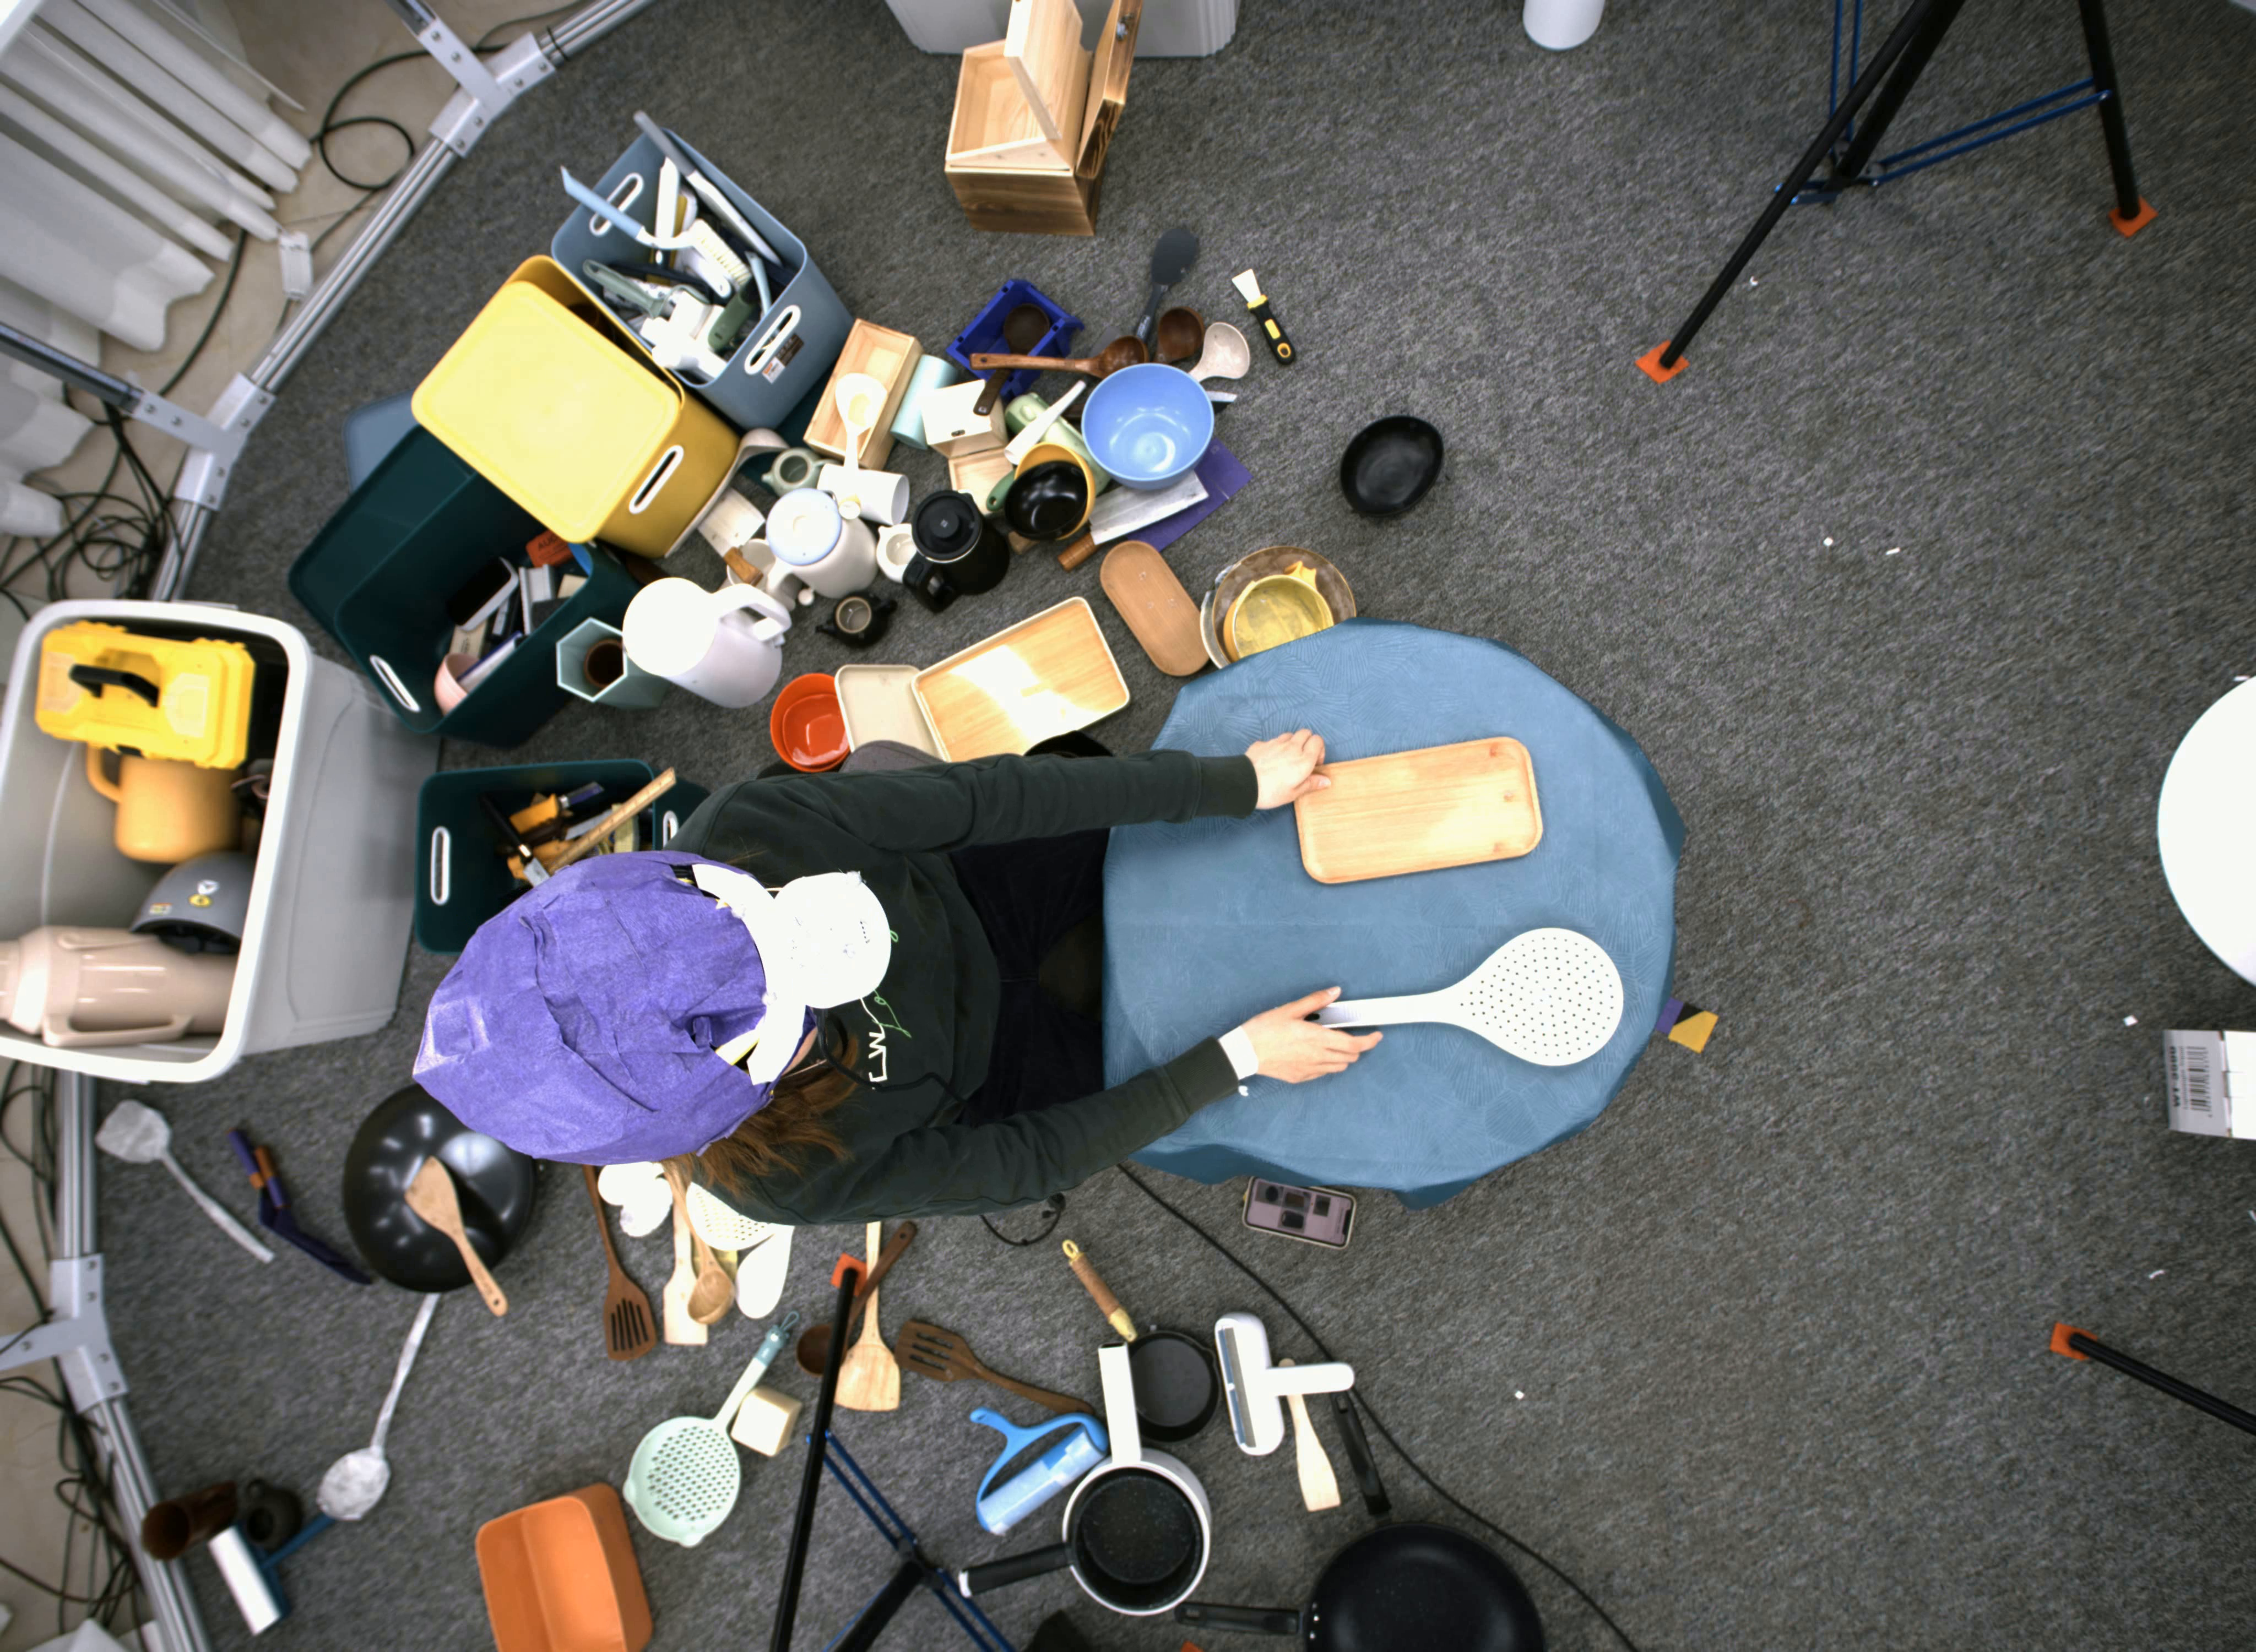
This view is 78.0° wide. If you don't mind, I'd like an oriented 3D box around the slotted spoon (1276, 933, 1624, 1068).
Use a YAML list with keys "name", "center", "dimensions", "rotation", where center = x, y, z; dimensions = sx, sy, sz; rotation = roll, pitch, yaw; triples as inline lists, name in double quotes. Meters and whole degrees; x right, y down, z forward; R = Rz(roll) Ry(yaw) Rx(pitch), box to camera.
- name: "slotted spoon"
  center: [0.327, 0.186, 1.423]
  dimensions: [0.351, 0.046, 0.135]
  rotation: [-6, 83, 11]

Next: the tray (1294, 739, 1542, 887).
- name: "tray"
  center: [0.305, -0.014, 1.456]
  dimensions: [0.252, 0.023, 0.129]
  rotation: [-9, 83, 10]
